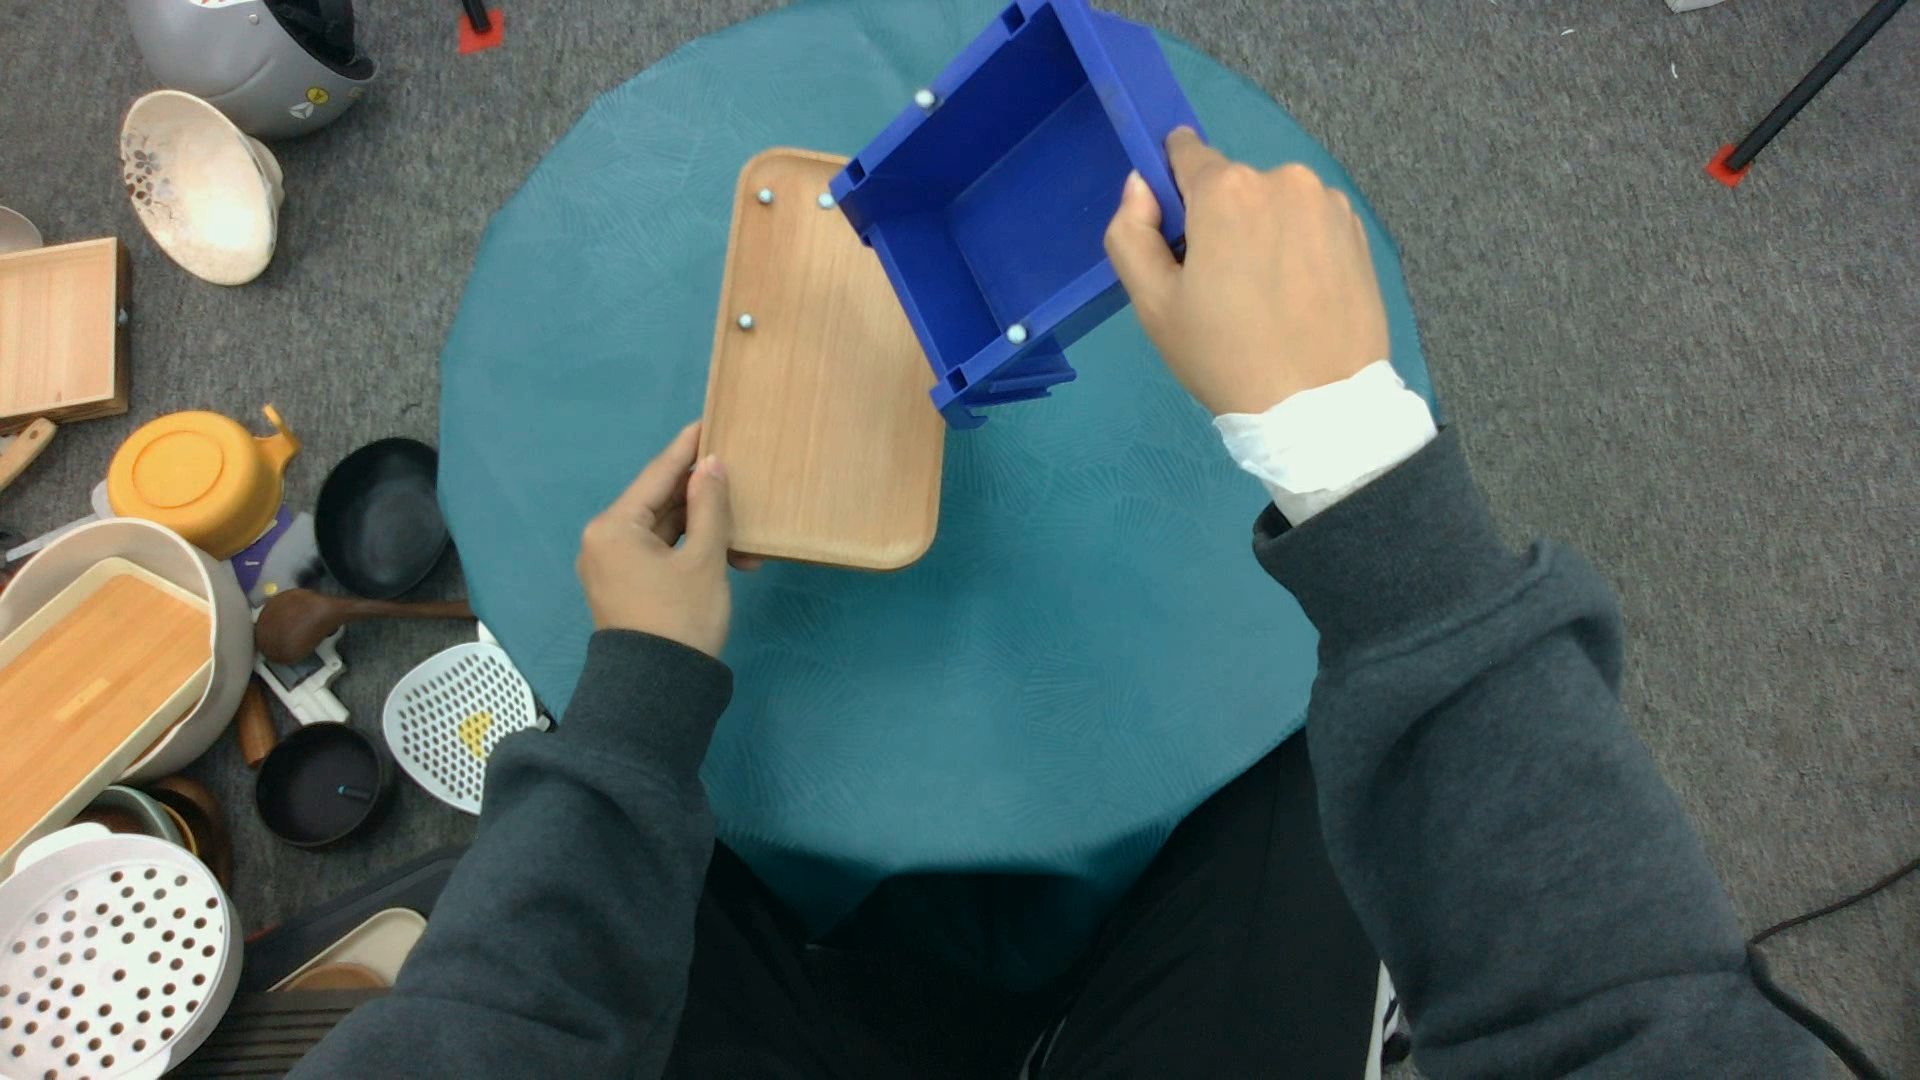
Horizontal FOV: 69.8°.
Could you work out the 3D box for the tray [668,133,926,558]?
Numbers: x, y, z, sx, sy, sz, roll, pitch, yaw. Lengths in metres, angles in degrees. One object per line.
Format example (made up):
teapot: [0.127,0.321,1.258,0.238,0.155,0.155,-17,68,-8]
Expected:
tray: [-0.080,-0.109,0.744,0.130,0.023,0.251,6,67,-7]

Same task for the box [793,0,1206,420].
box: [0.012,-0.142,0.621,0.178,0.082,0.124,-28,83,34]
